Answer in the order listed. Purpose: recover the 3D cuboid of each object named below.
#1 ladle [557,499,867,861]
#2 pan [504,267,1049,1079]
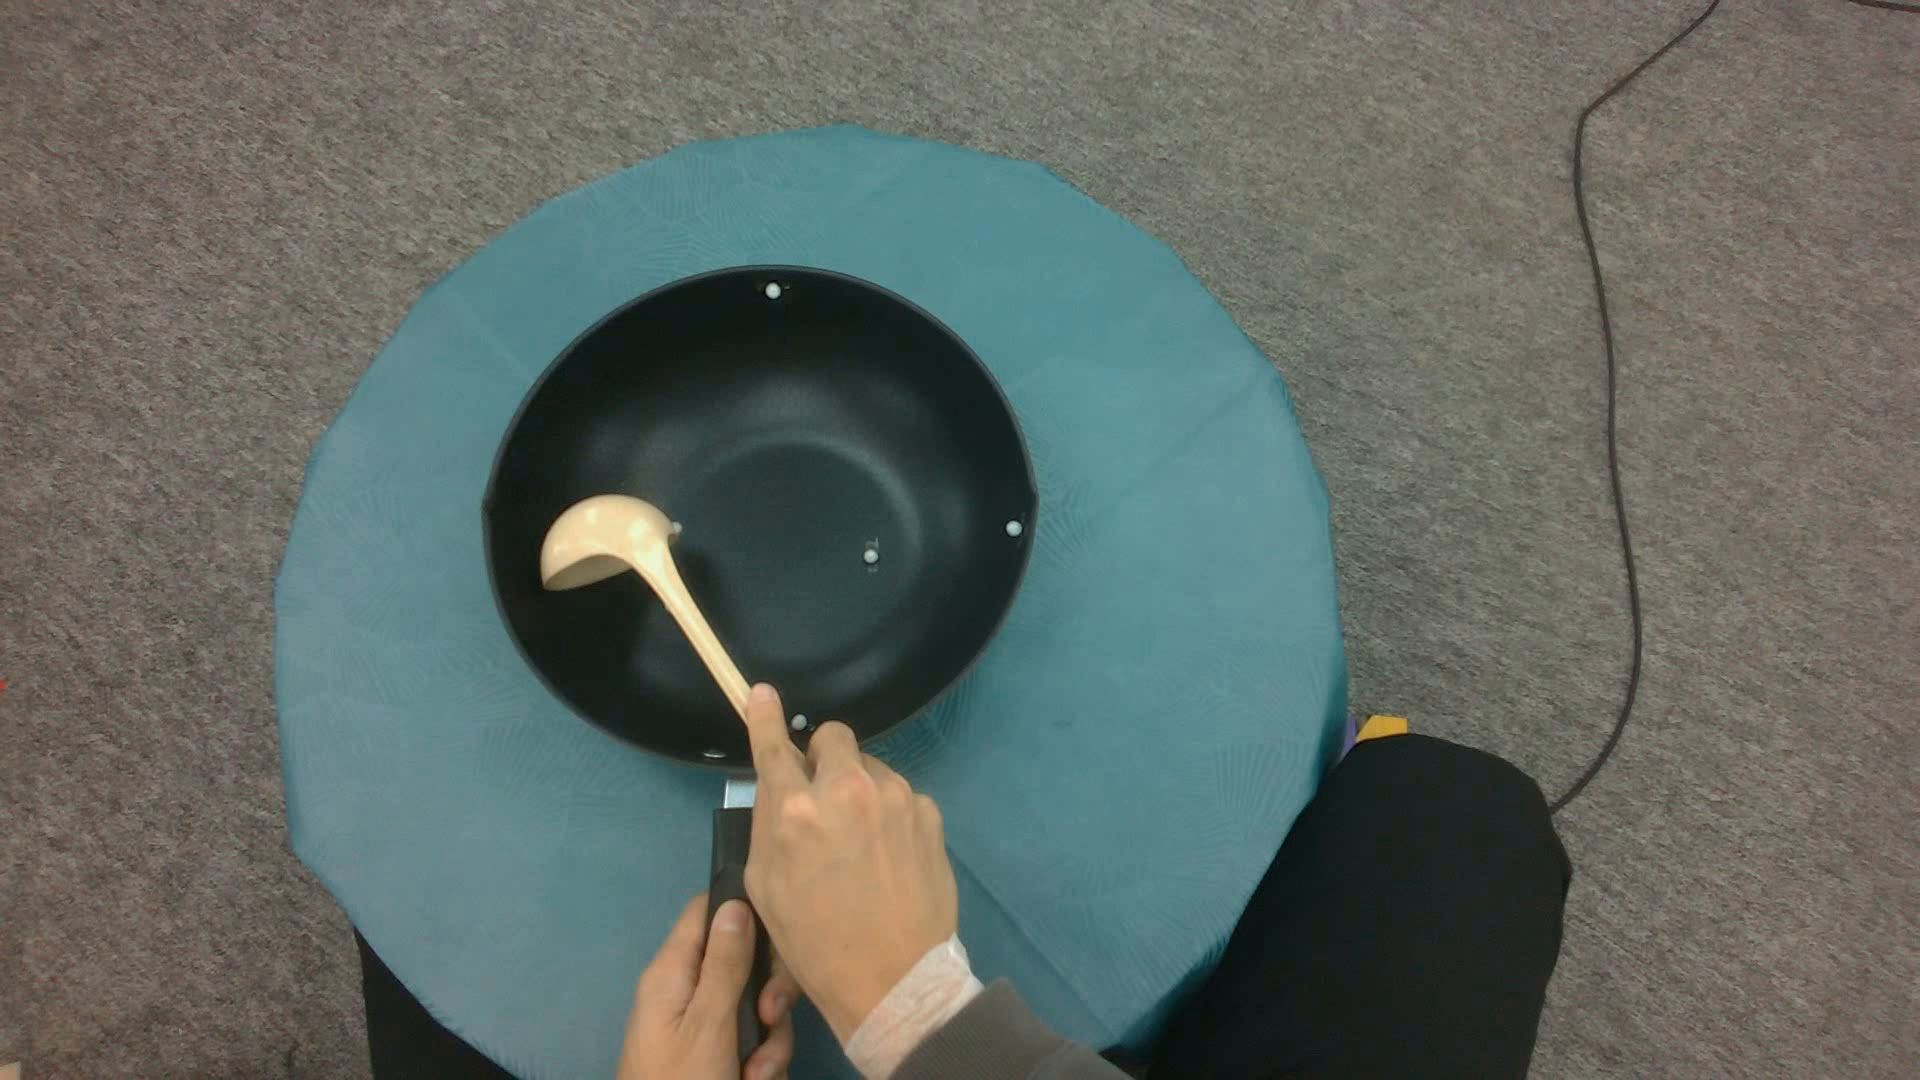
[{"bbox_3d":[-0.126,0.079,0.696,0.072,0.072,0.255,-14,54,-38],"label":"ladle"},{"bbox_3d":[-0.097,0.080,0.729,0.288,0.086,0.464,0,72,1],"label":"pan"}]
